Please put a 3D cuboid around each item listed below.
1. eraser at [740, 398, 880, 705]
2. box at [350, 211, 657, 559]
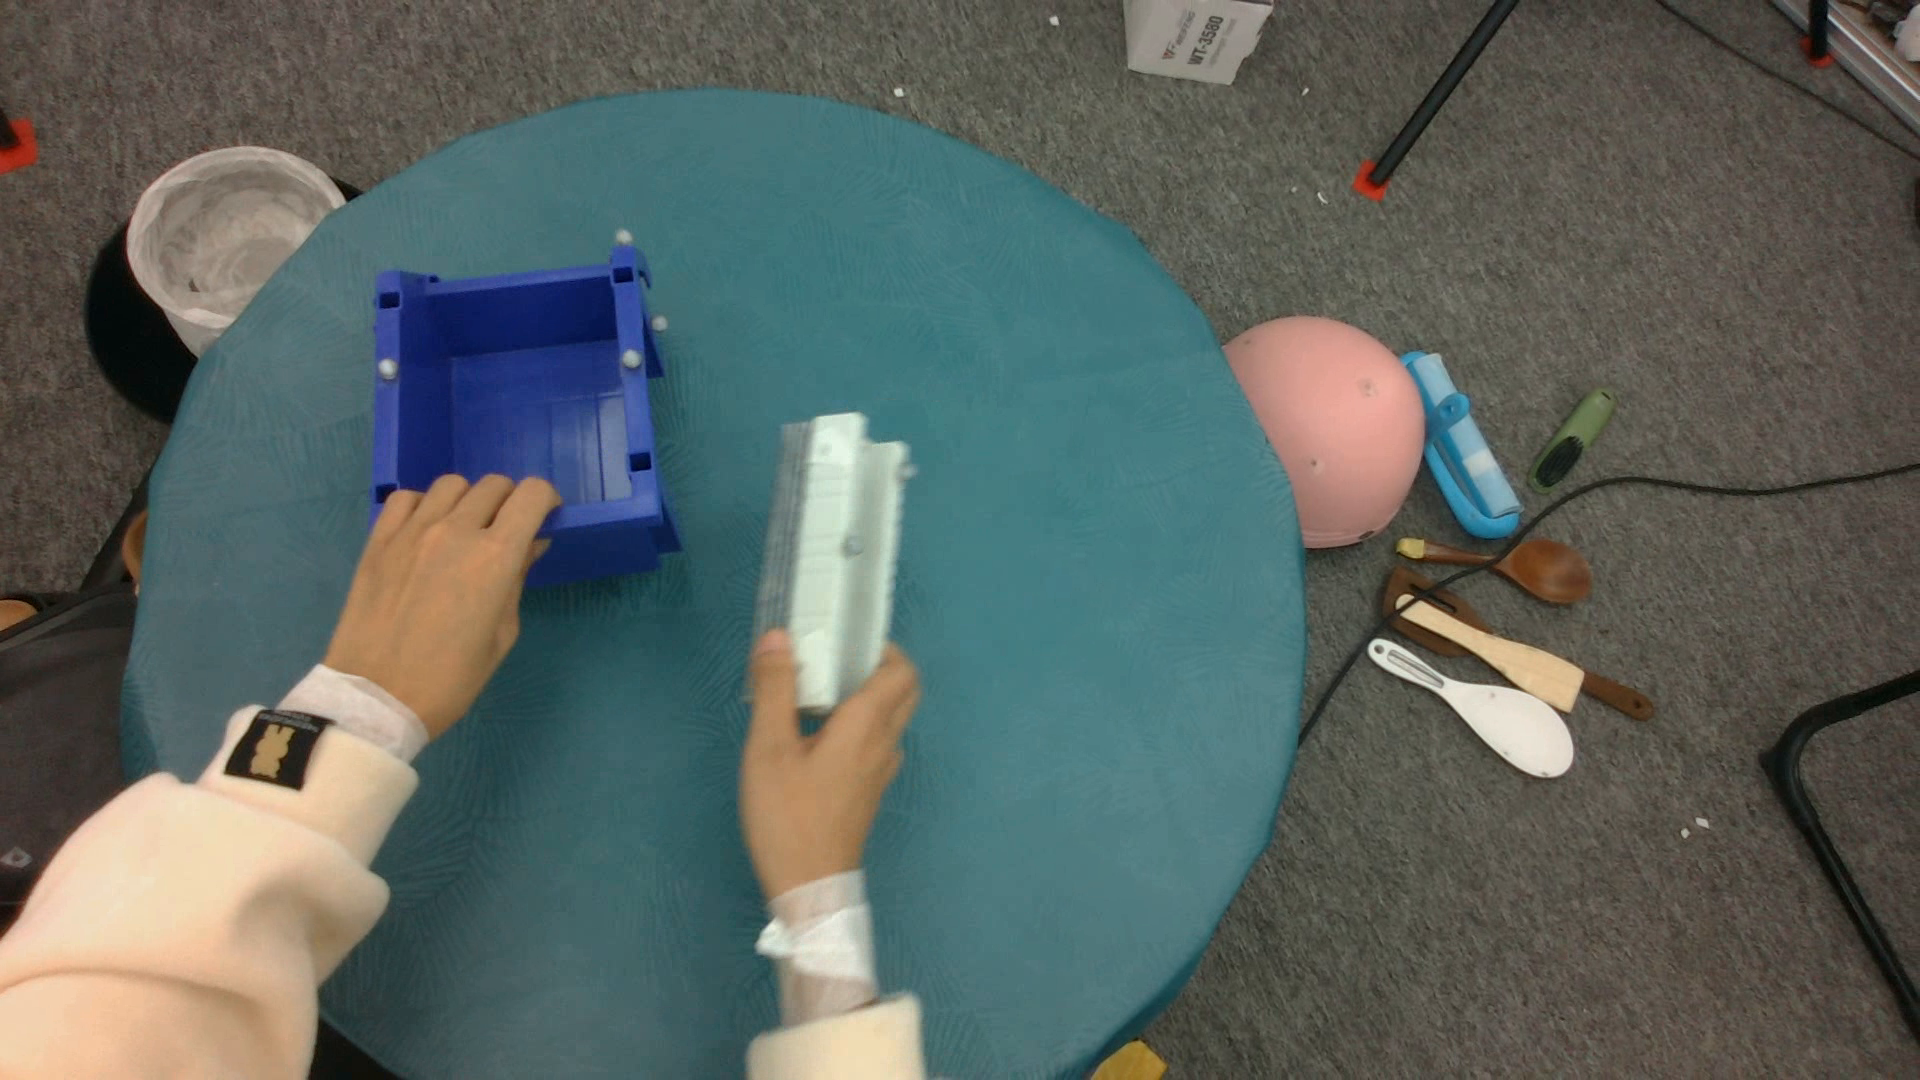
[{"bbox_3d":[-0.069,0.007,0.635,0.046,0.050,0.134,-5,75,22],"label":"eraser"},{"bbox_3d":[-0.218,-0.082,0.665,0.124,0.081,0.180,-7,66,-6],"label":"box"}]
